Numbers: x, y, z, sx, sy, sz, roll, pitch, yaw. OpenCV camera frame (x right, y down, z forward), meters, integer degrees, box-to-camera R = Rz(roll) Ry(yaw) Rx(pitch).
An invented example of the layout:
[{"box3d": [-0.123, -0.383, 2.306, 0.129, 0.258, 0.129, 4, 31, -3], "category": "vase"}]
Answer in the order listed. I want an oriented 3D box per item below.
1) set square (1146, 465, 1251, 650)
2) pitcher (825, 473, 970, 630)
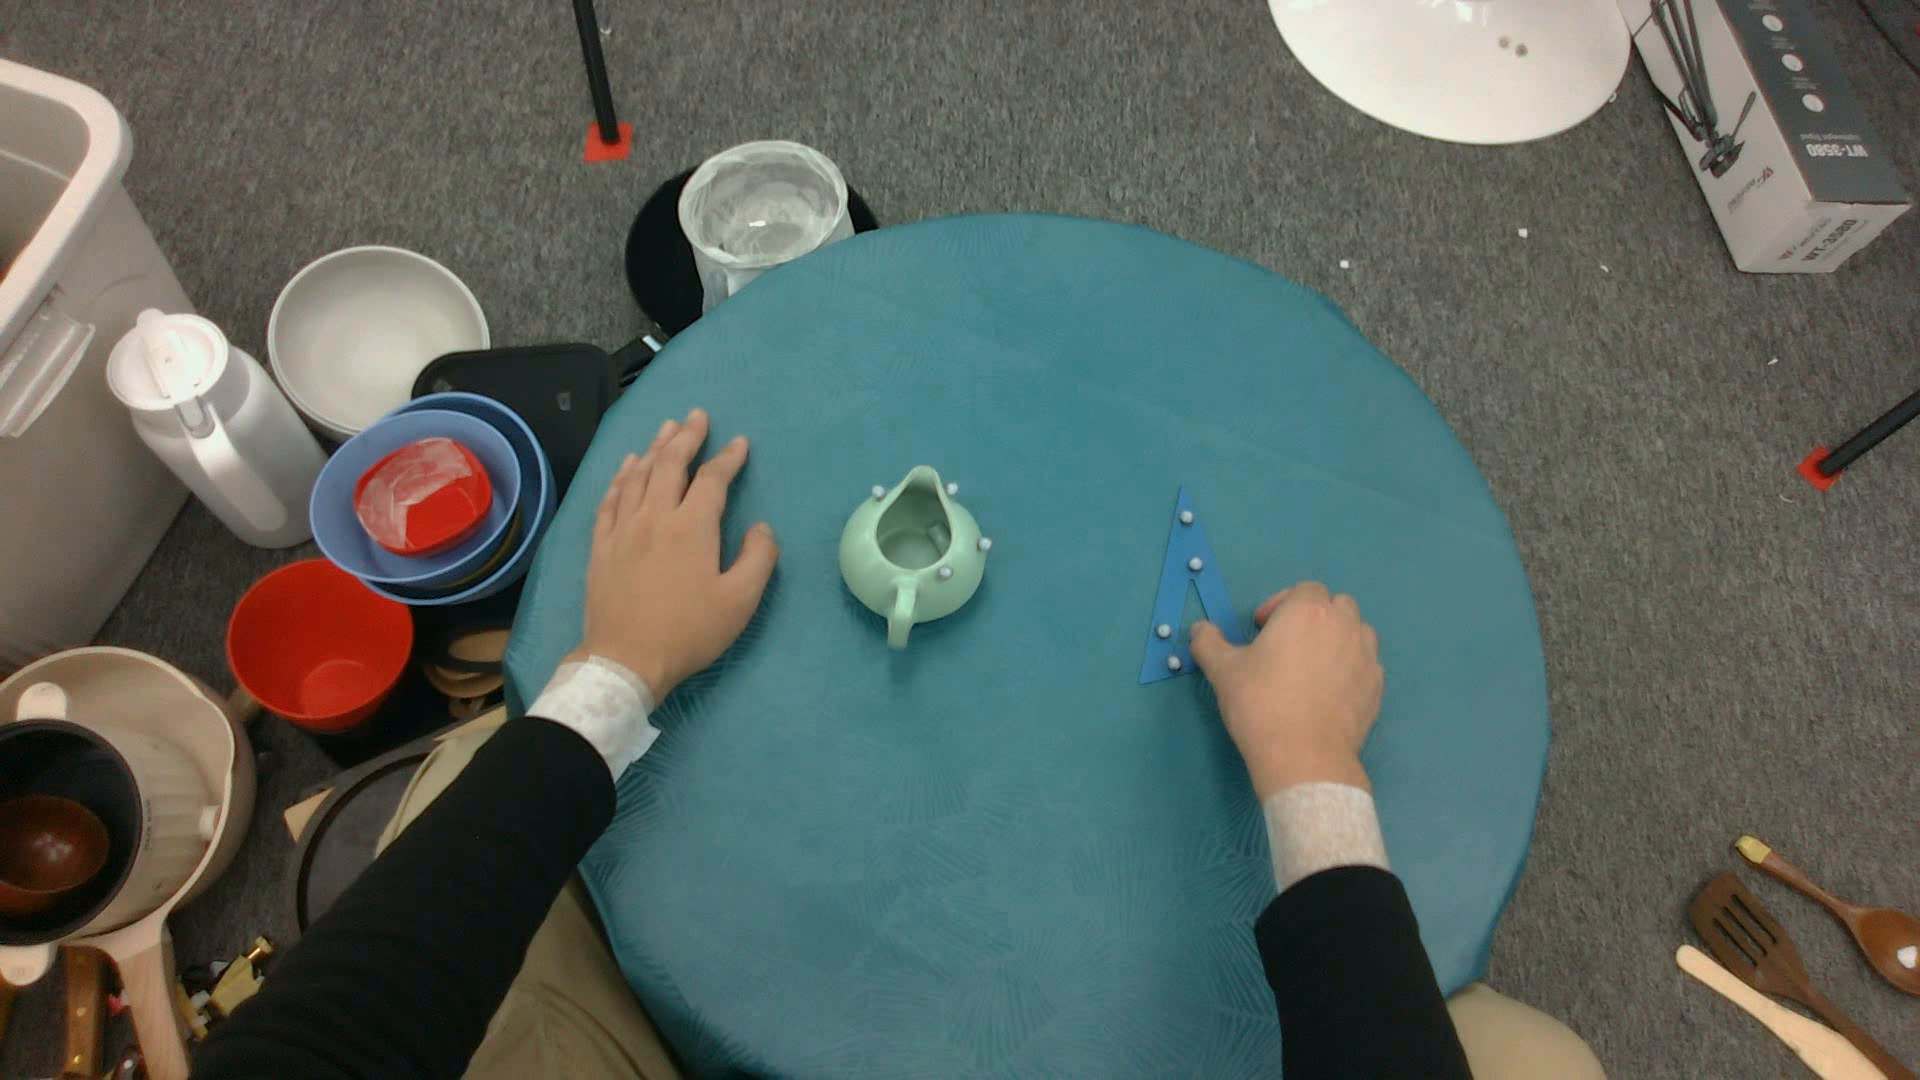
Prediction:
[{"box3d": [0.154, 0.015, 0.833, 0.061, 0.006, 0.132, 17, 64, 4], "category": "set square"}, {"box3d": [-0.037, 0.013, 0.782, 0.086, 0.060, 0.108, 28, 48, -3], "category": "pitcher"}]
